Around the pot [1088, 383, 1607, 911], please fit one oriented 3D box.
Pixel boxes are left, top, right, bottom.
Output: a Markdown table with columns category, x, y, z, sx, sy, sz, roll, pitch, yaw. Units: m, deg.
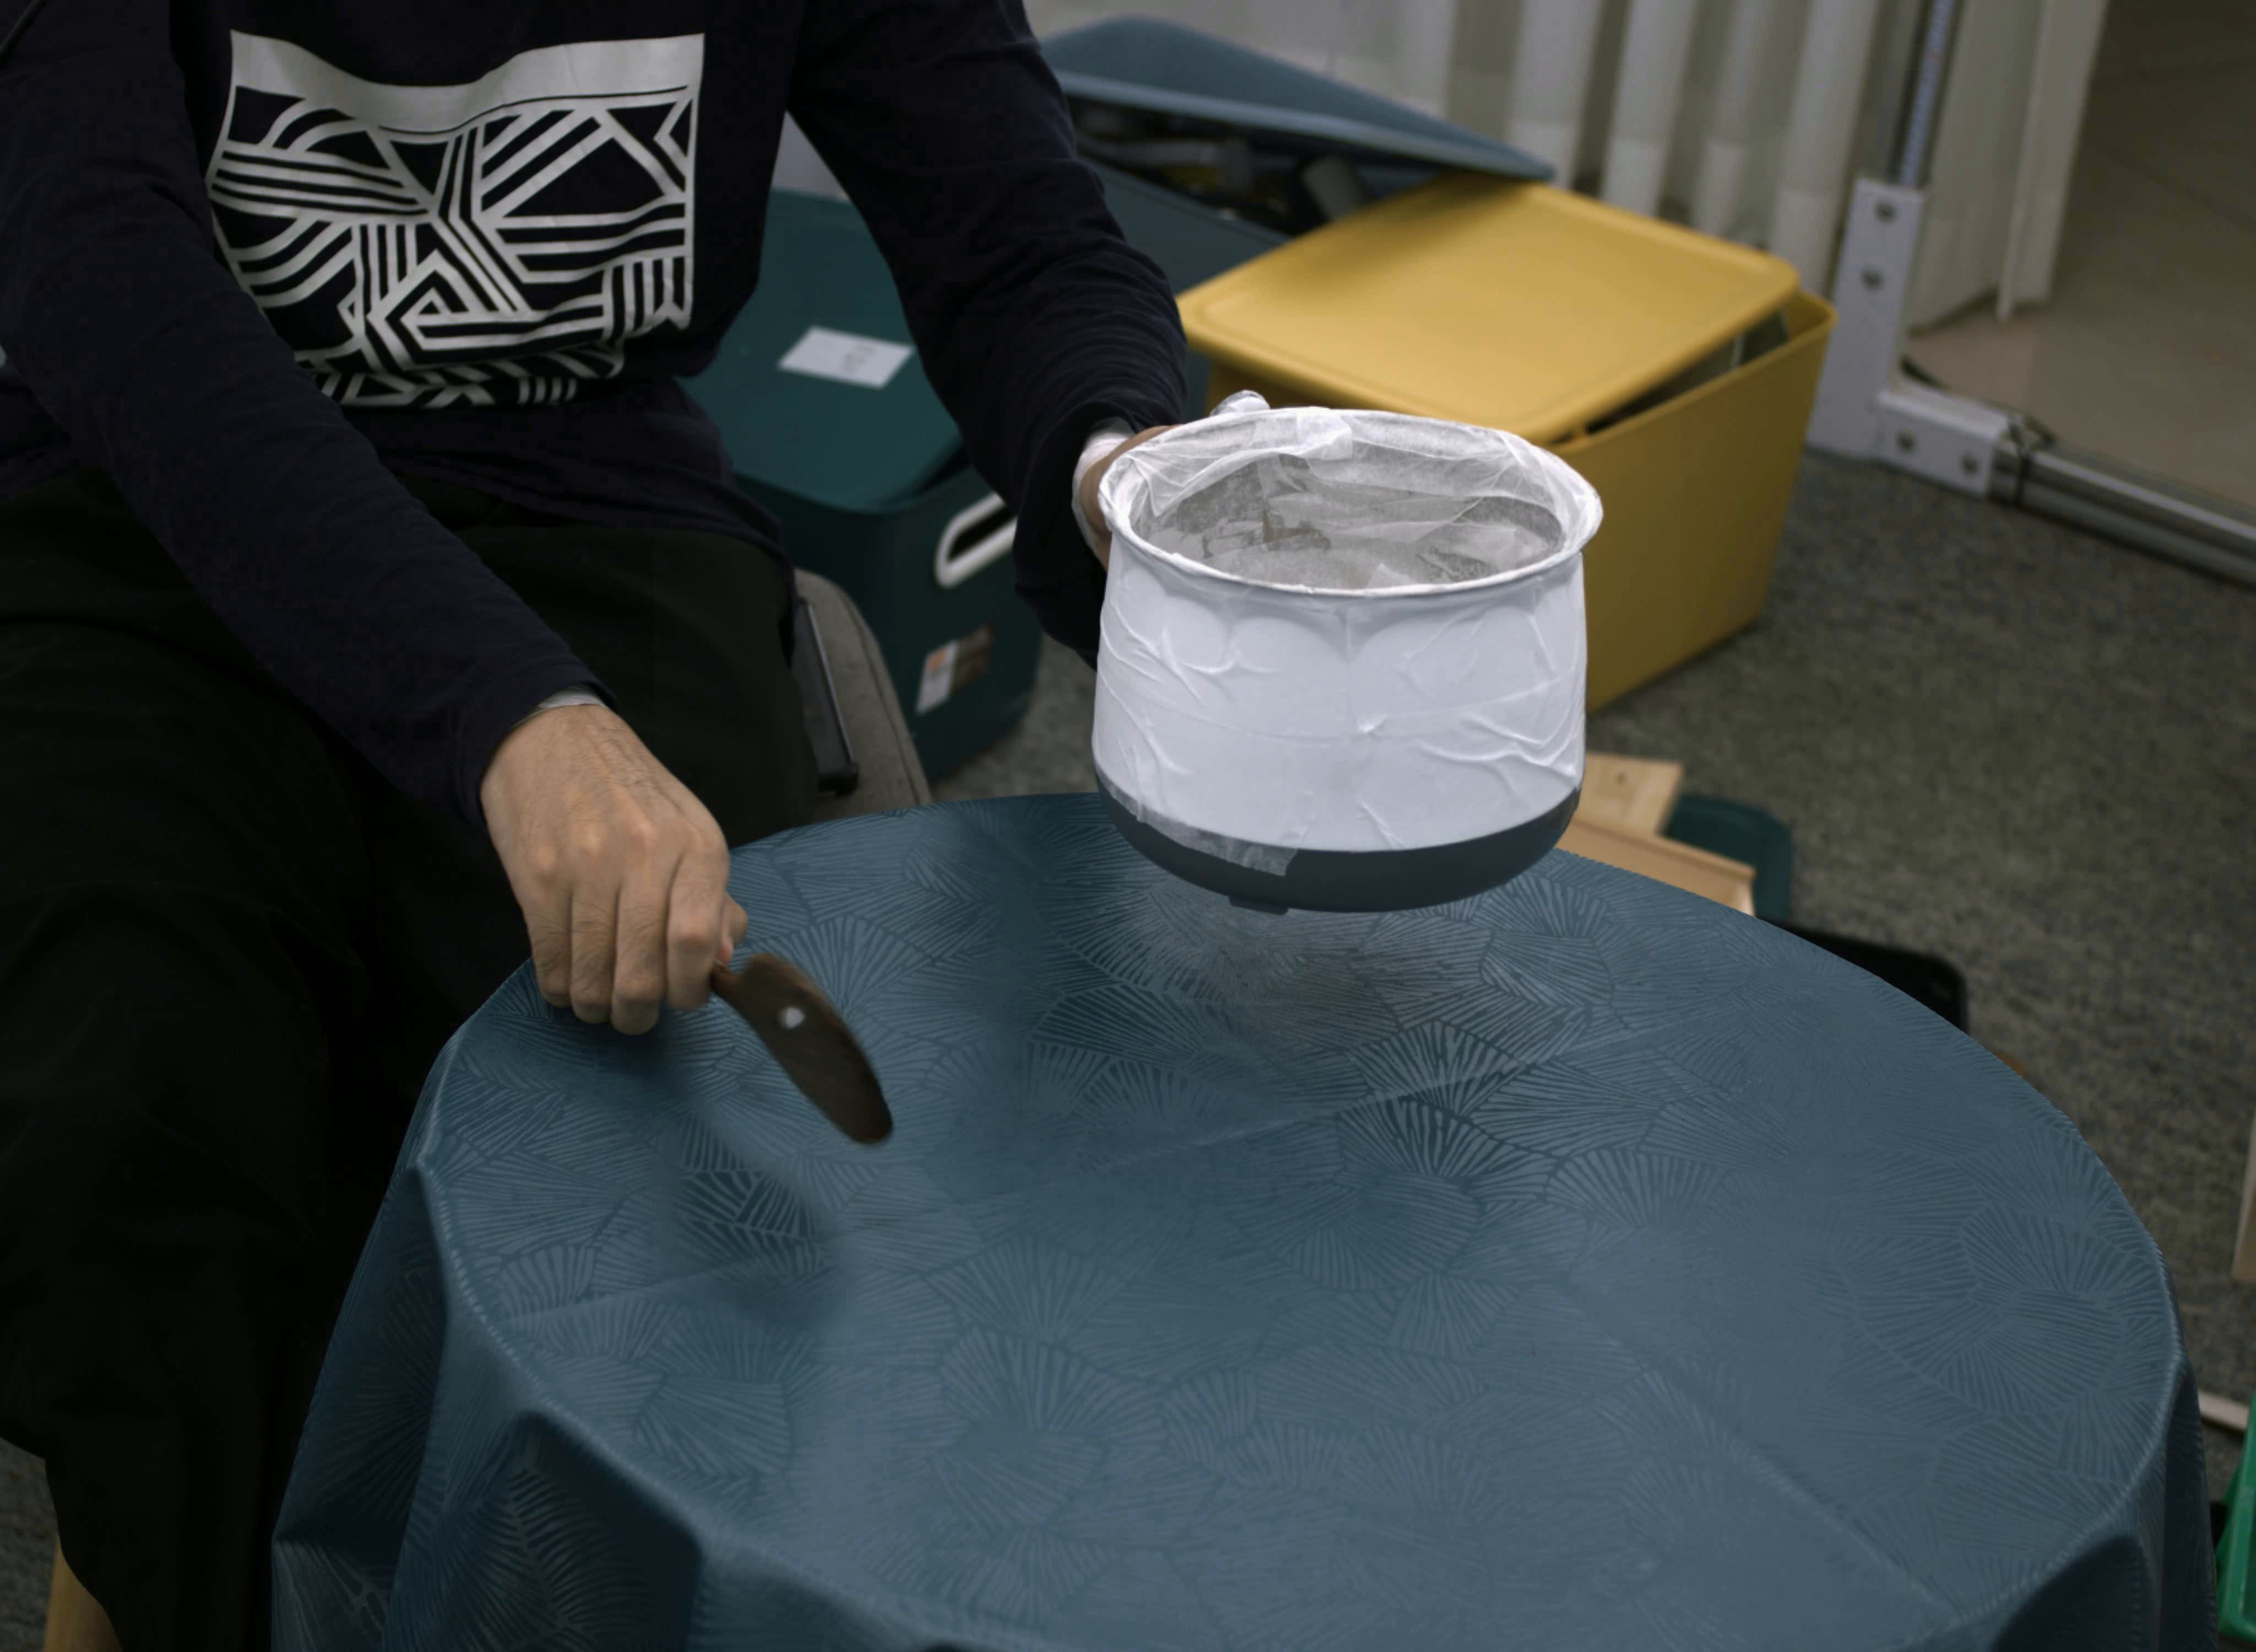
| category | x | y | z | sx | sy | sz | roll | pitch | yaw |
| --- | --- | --- | --- | --- | --- | --- | --- | --- | --- |
| pot | 0.065 | -0.070 | 1.916 | 0.177 | 0.136 | 0.236 | -6 | 26 | -21 |

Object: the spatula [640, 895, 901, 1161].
| category | x | y | z | sx | sy | sz | roll | pitch | yaw |
| --- | --- | --- | --- | --- | --- | --- | --- | --- | --- |
| spatula | -0.126 | 0.058 | 1.813 | 0.009 | 0.071 | 0.217 | -17 | 21 | -22 |
